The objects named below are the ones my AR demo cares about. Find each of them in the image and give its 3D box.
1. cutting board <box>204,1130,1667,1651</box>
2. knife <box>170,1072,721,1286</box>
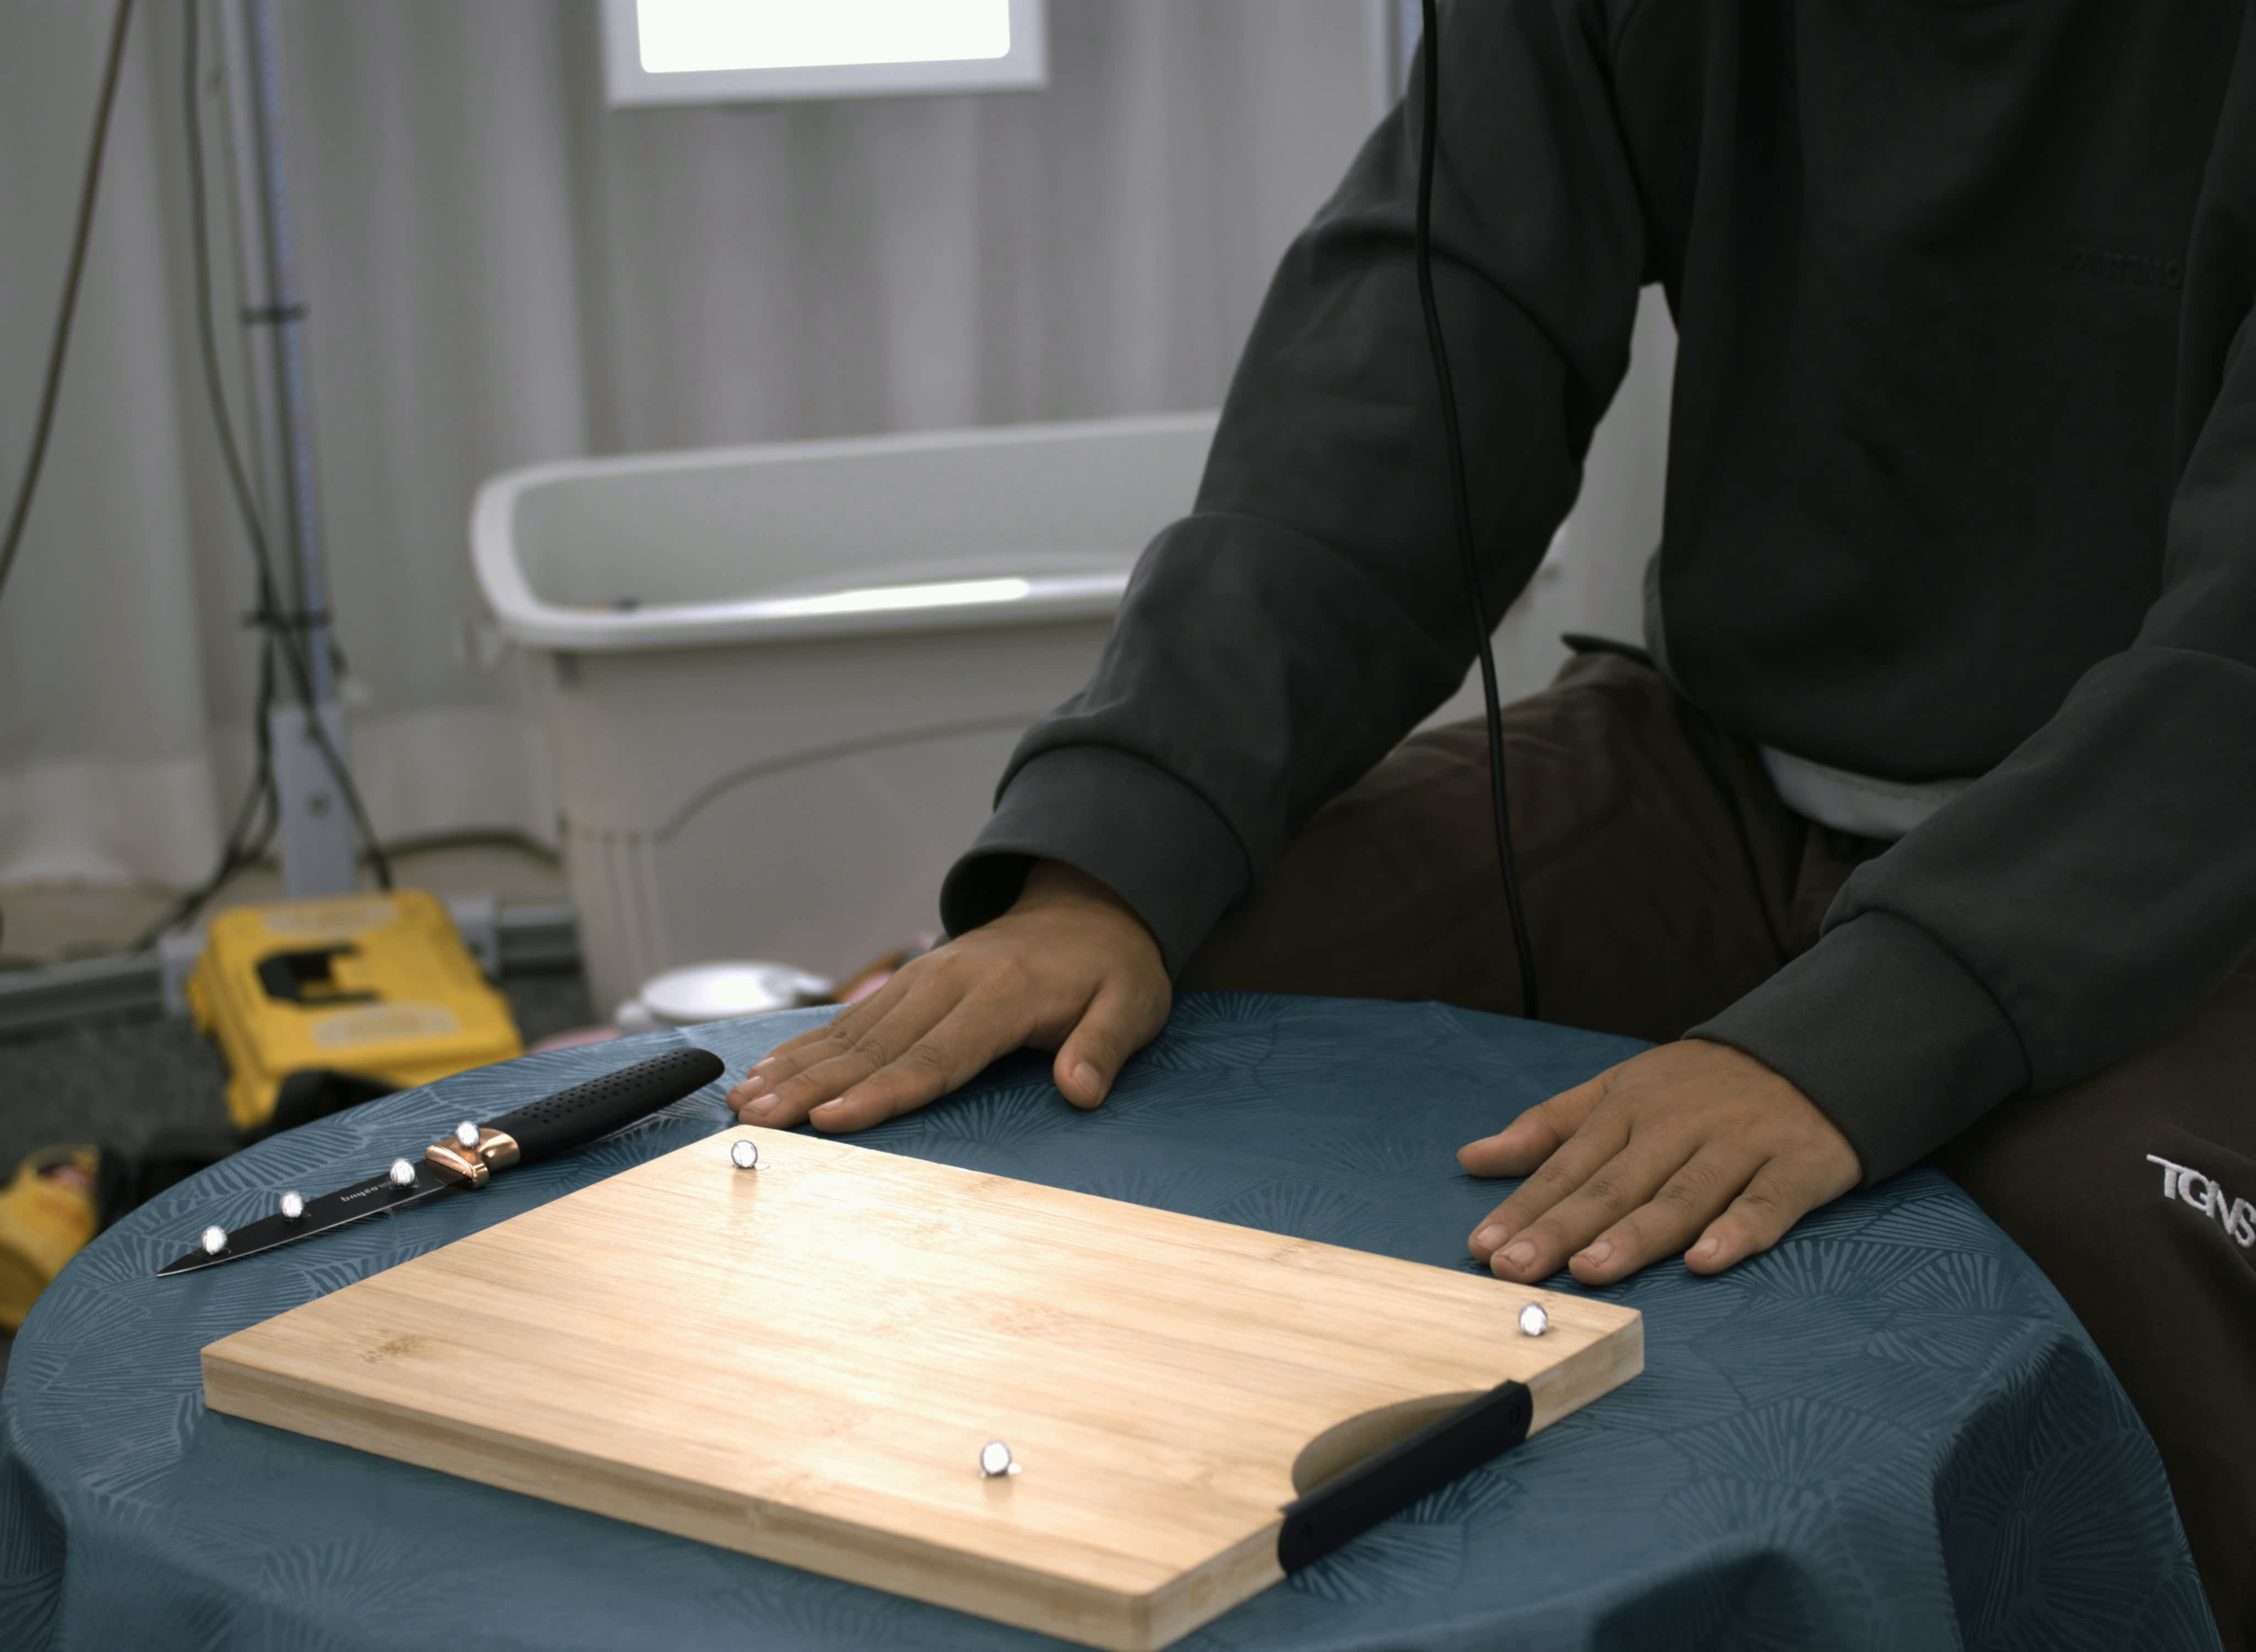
[{"bbox_3d":[-0.055,0.154,1.549,0.350,0.023,0.250,8,19,36],"label":"cutting board"},{"bbox_3d":[-0.216,0.112,1.744,0.026,0.017,0.225,19,26,42],"label":"knife"}]
